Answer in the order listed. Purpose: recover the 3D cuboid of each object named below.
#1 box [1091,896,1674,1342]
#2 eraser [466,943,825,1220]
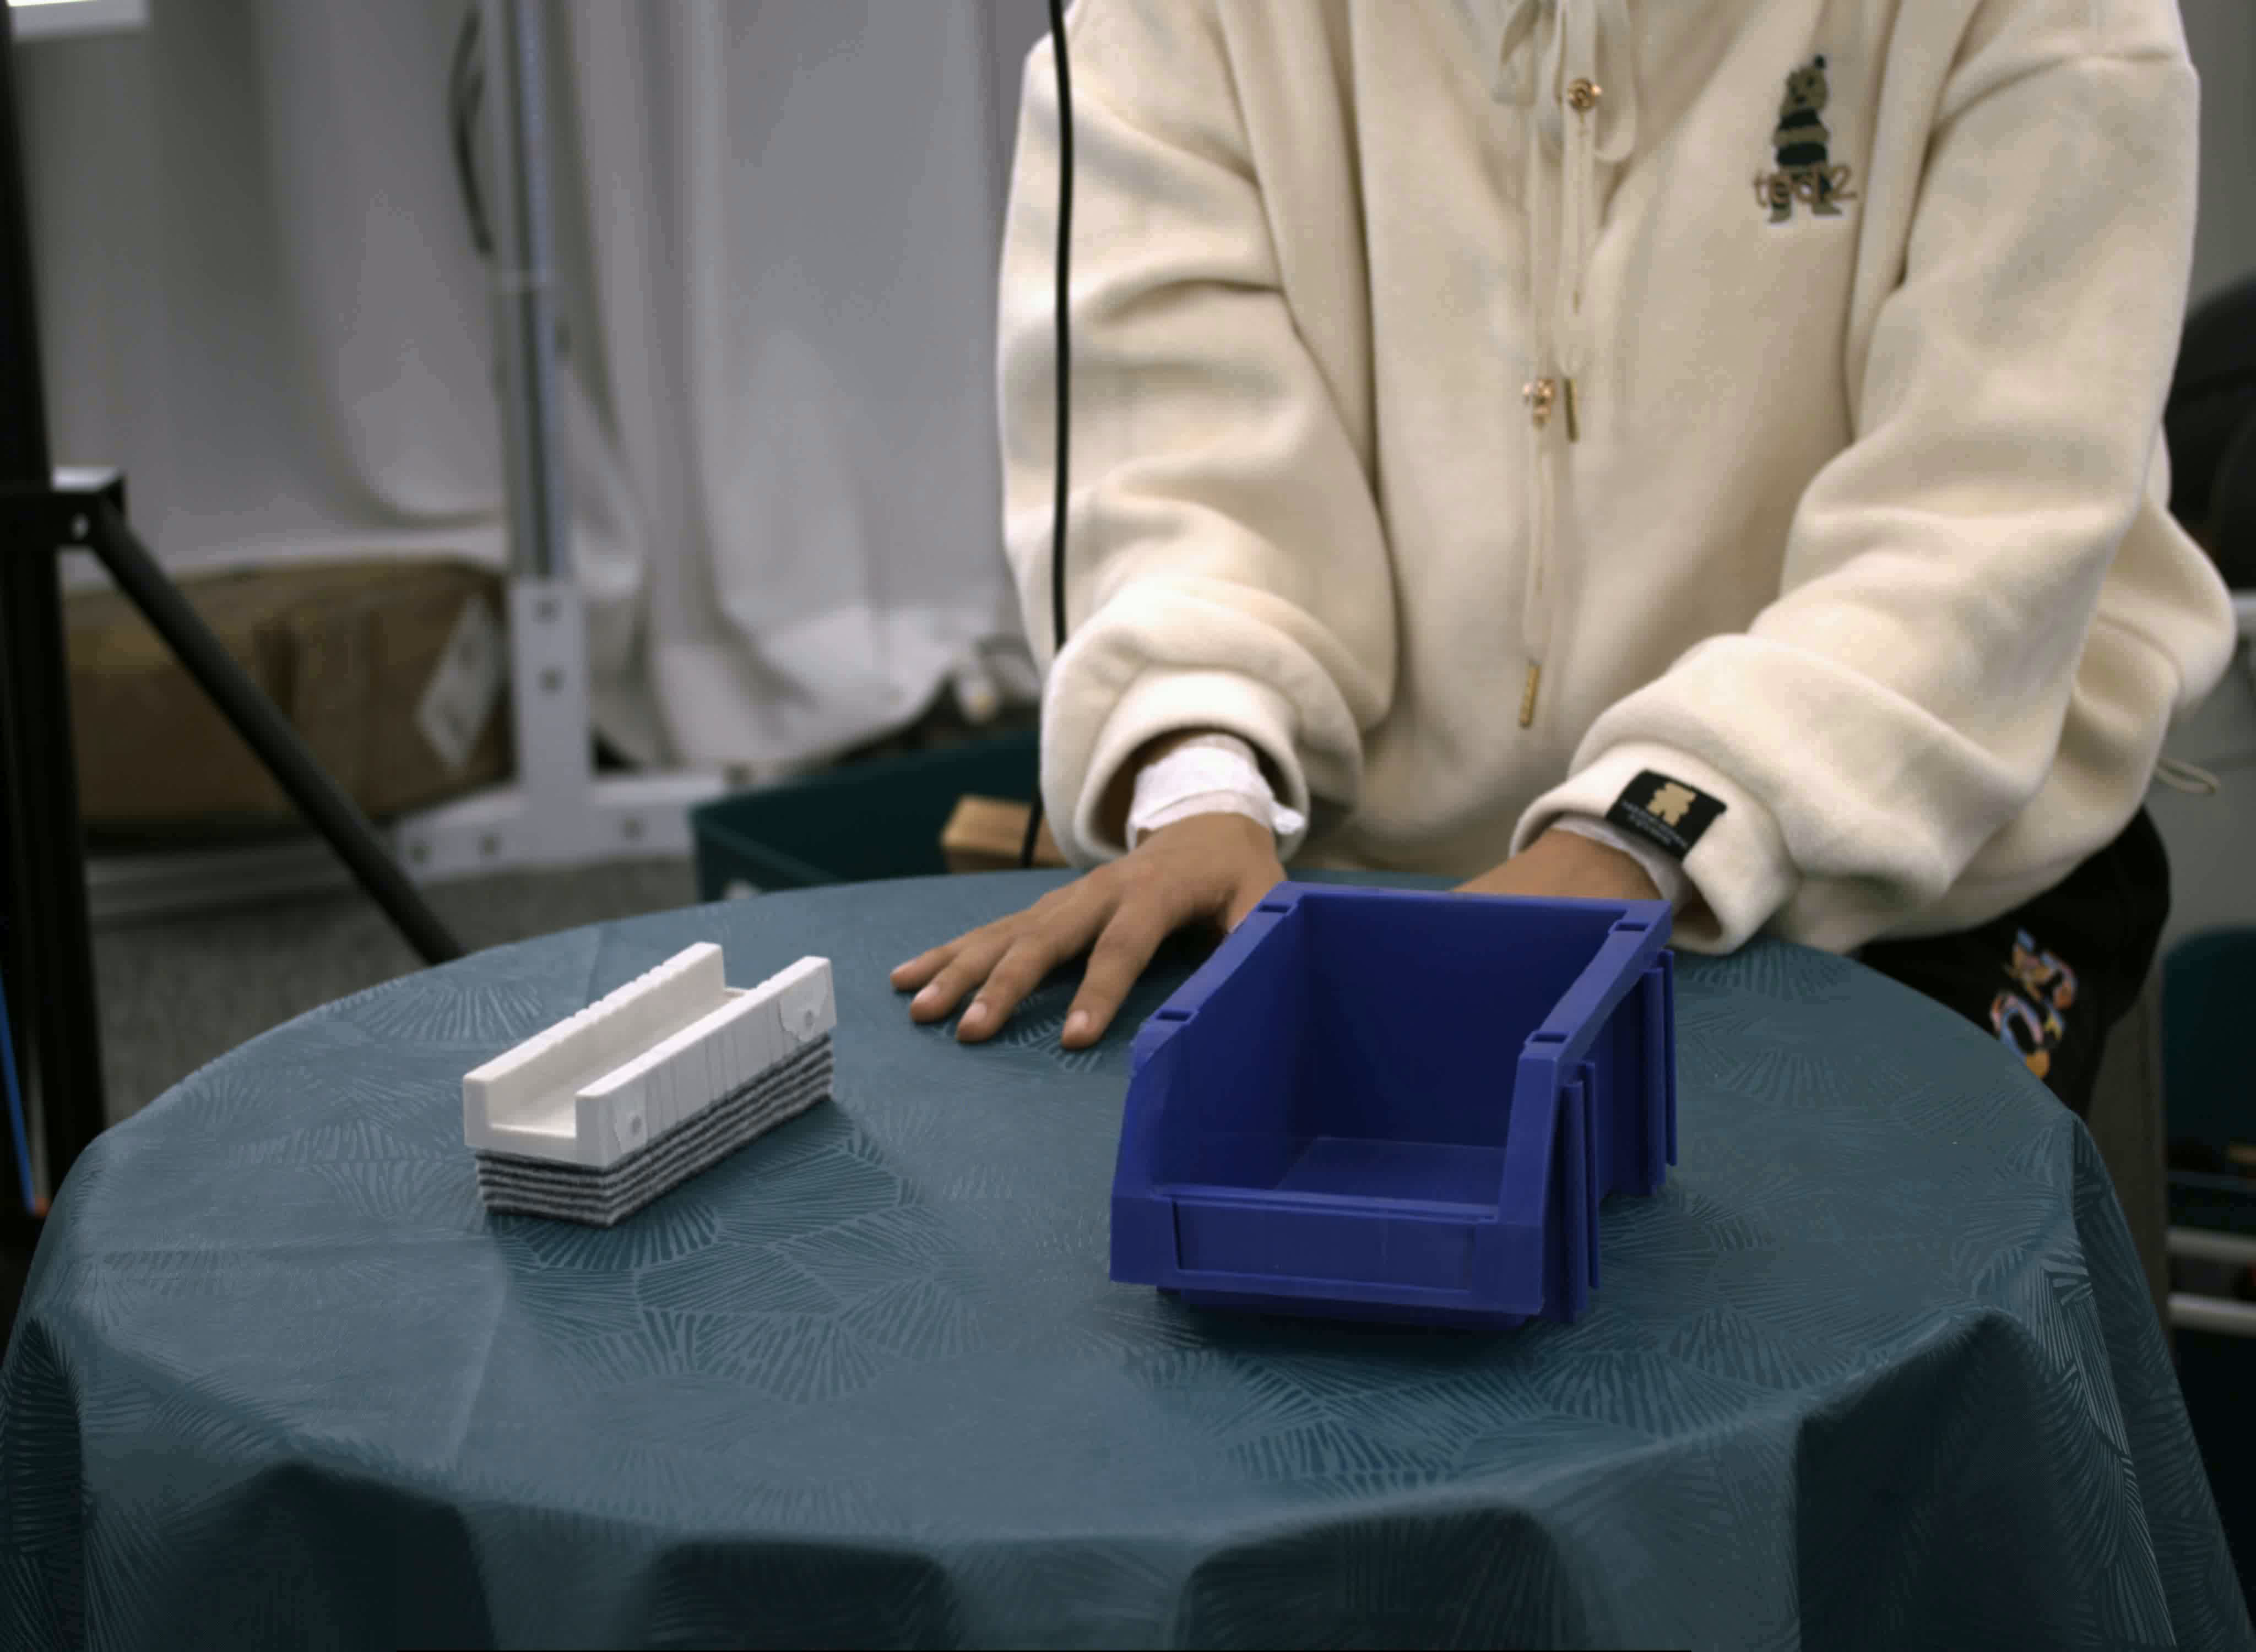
[{"bbox_3d":[0.076,0.084,1.480,0.126,0.082,0.177,3,15,19],"label":"box"},{"bbox_3d":[-0.144,0.076,1.608,0.050,0.046,0.132,3,18,26],"label":"eraser"}]
